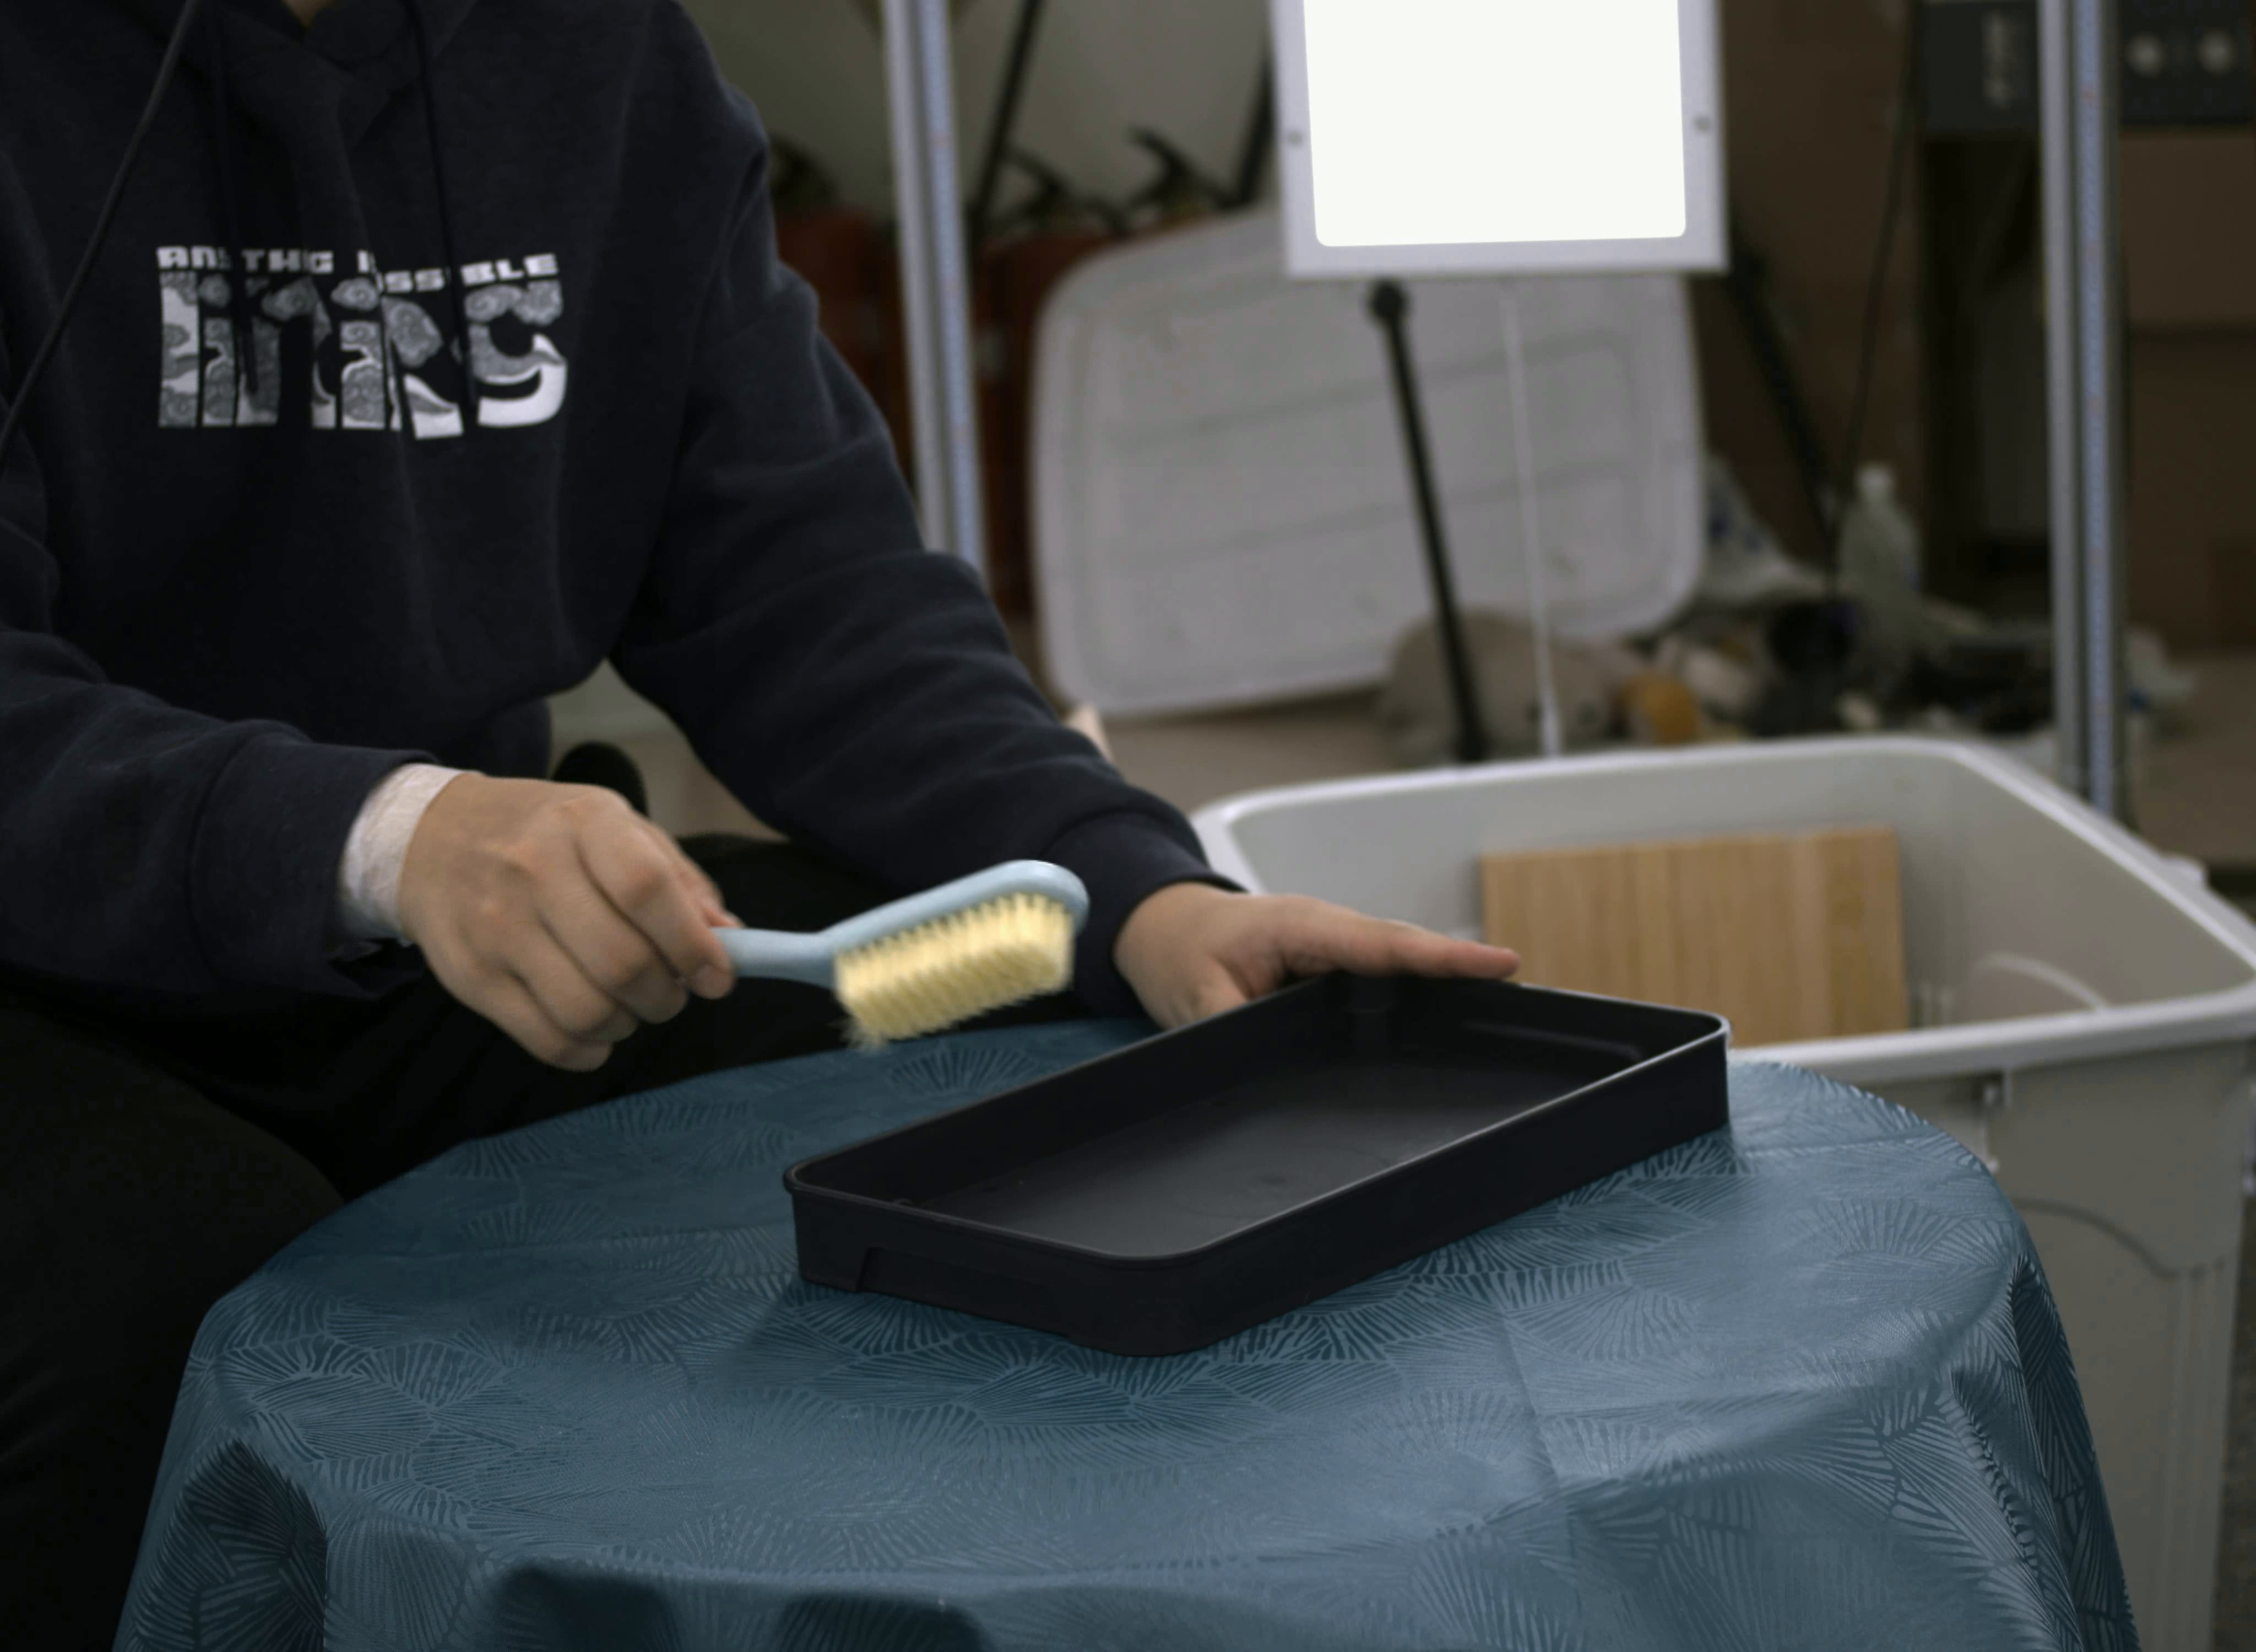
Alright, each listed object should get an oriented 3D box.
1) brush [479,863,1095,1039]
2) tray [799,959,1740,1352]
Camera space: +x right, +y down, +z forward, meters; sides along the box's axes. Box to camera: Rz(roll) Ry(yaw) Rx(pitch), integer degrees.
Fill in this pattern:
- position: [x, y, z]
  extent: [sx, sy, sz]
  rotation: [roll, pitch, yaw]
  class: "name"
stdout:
- position: [-0.114, 0.048, 1.780]
  extent: [0.233, 0.049, 0.037]
  rotation: [-6, -34, 31]
  class: "brush"
- position: [0.054, 0.107, 1.883]
  extent: [0.188, 0.037, 0.310]
  rotation: [7, 18, 42]
  class: "tray"
